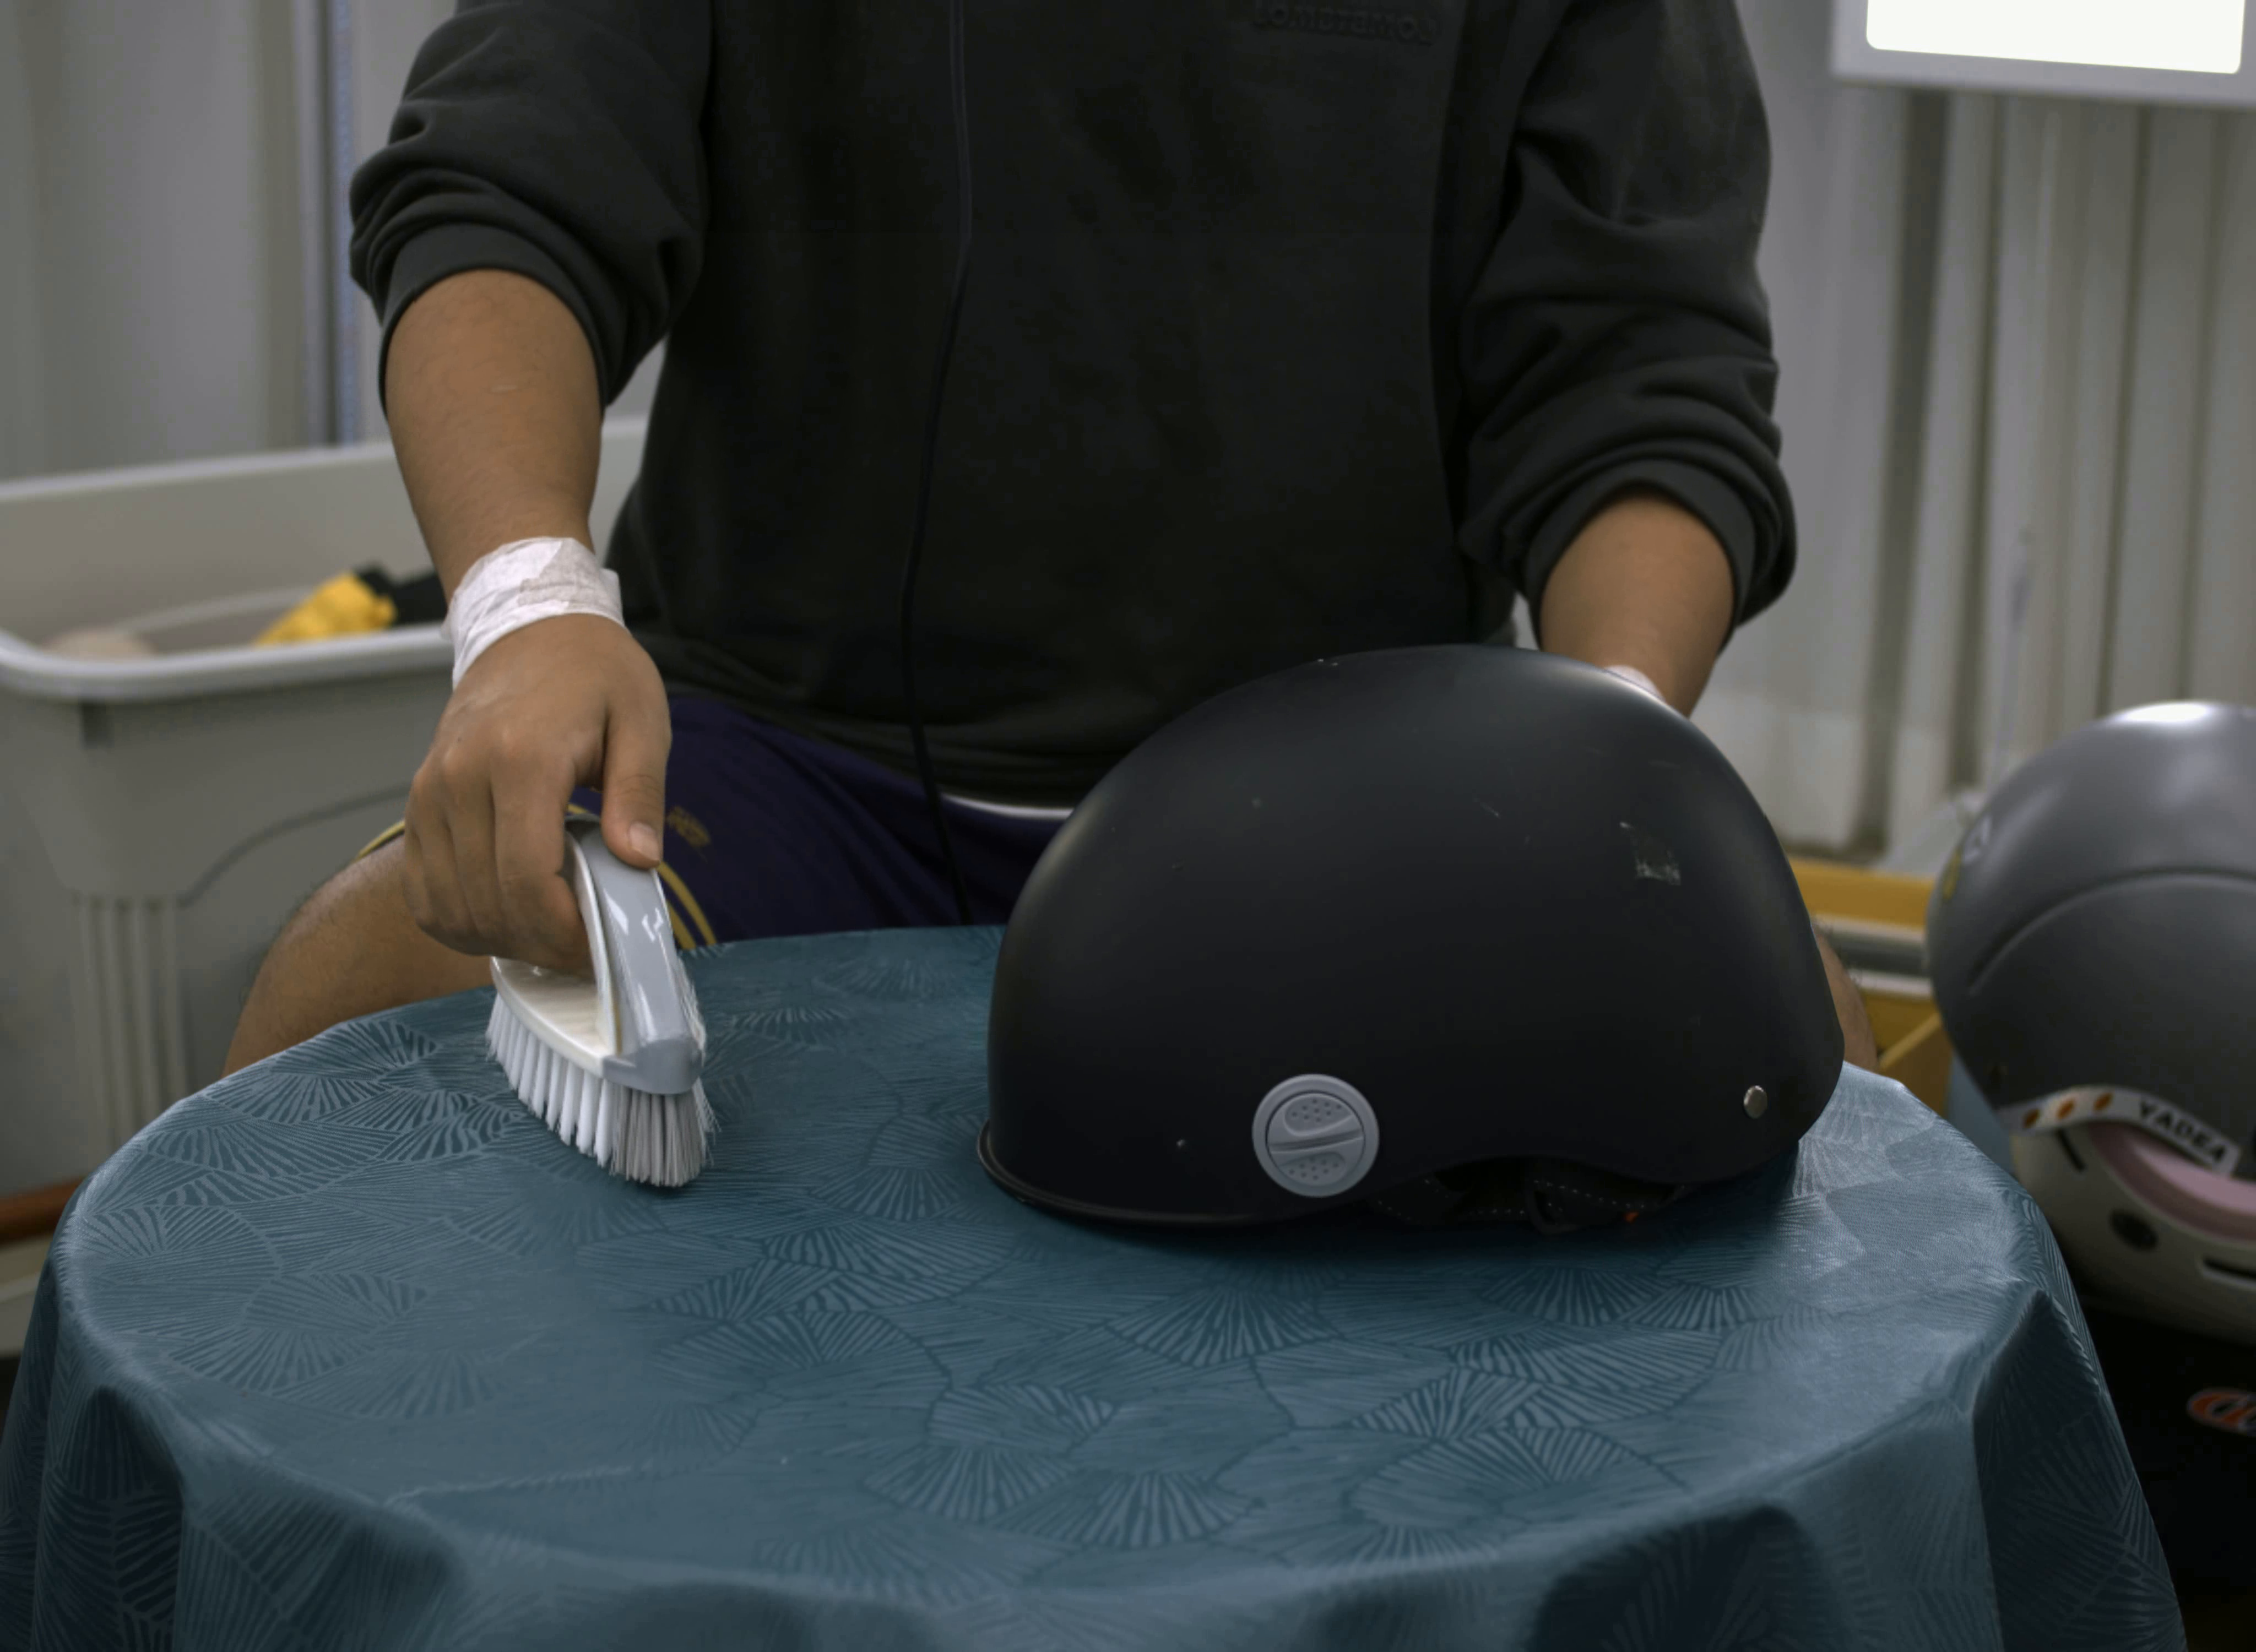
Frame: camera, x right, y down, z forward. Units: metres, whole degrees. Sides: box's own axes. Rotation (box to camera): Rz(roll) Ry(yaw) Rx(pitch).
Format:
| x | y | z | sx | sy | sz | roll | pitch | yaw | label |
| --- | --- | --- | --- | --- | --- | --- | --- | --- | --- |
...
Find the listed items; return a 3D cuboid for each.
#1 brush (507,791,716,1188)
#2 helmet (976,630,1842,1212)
| x | y | z | sx | sy | sz | roll | pitch | yaw | label |
| --- | --- | --- | --- | --- | --- | --- | --- | --- | --- |
| -0.160 | 0.046 | 1.680 | 0.061 | 0.095 | 0.173 | -3 | 20 | -15 | brush |
| 0.086 | 0.025 | 1.643 | 0.272 | 0.168 | 0.228 | -2 | 15 | -2 | helmet |
